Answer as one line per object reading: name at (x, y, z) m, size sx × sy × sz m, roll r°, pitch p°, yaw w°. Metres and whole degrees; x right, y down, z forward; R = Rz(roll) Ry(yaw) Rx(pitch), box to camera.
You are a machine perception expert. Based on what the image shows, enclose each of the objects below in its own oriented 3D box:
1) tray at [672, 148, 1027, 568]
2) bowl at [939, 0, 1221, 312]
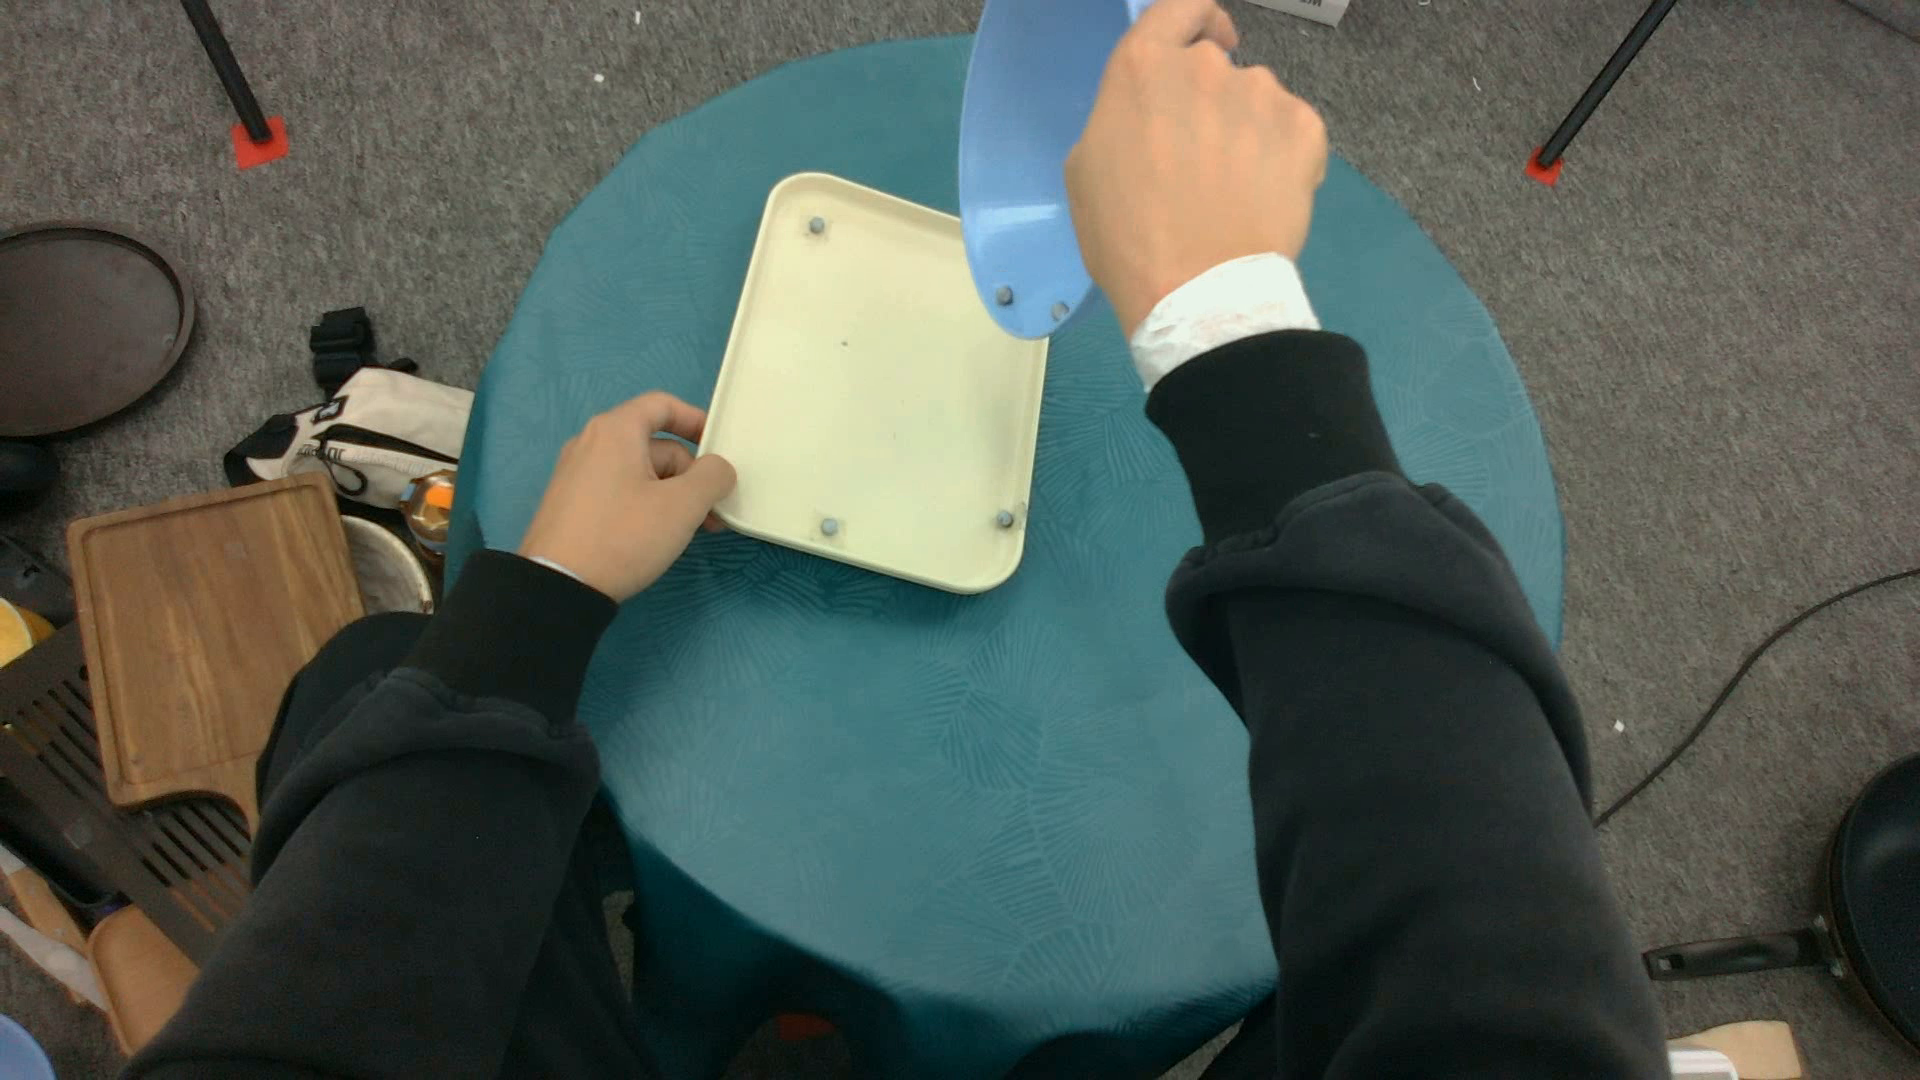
tray at (-0.051, -0.101, 0.731) m, size 0.171 × 0.017 × 0.241 m, roll 15°, pitch 58°, yaw -12°
bowl at (0.055, -0.187, 0.604) m, size 0.070 × 0.175 × 0.176 m, roll -1°, pitch 65°, yaw -25°
